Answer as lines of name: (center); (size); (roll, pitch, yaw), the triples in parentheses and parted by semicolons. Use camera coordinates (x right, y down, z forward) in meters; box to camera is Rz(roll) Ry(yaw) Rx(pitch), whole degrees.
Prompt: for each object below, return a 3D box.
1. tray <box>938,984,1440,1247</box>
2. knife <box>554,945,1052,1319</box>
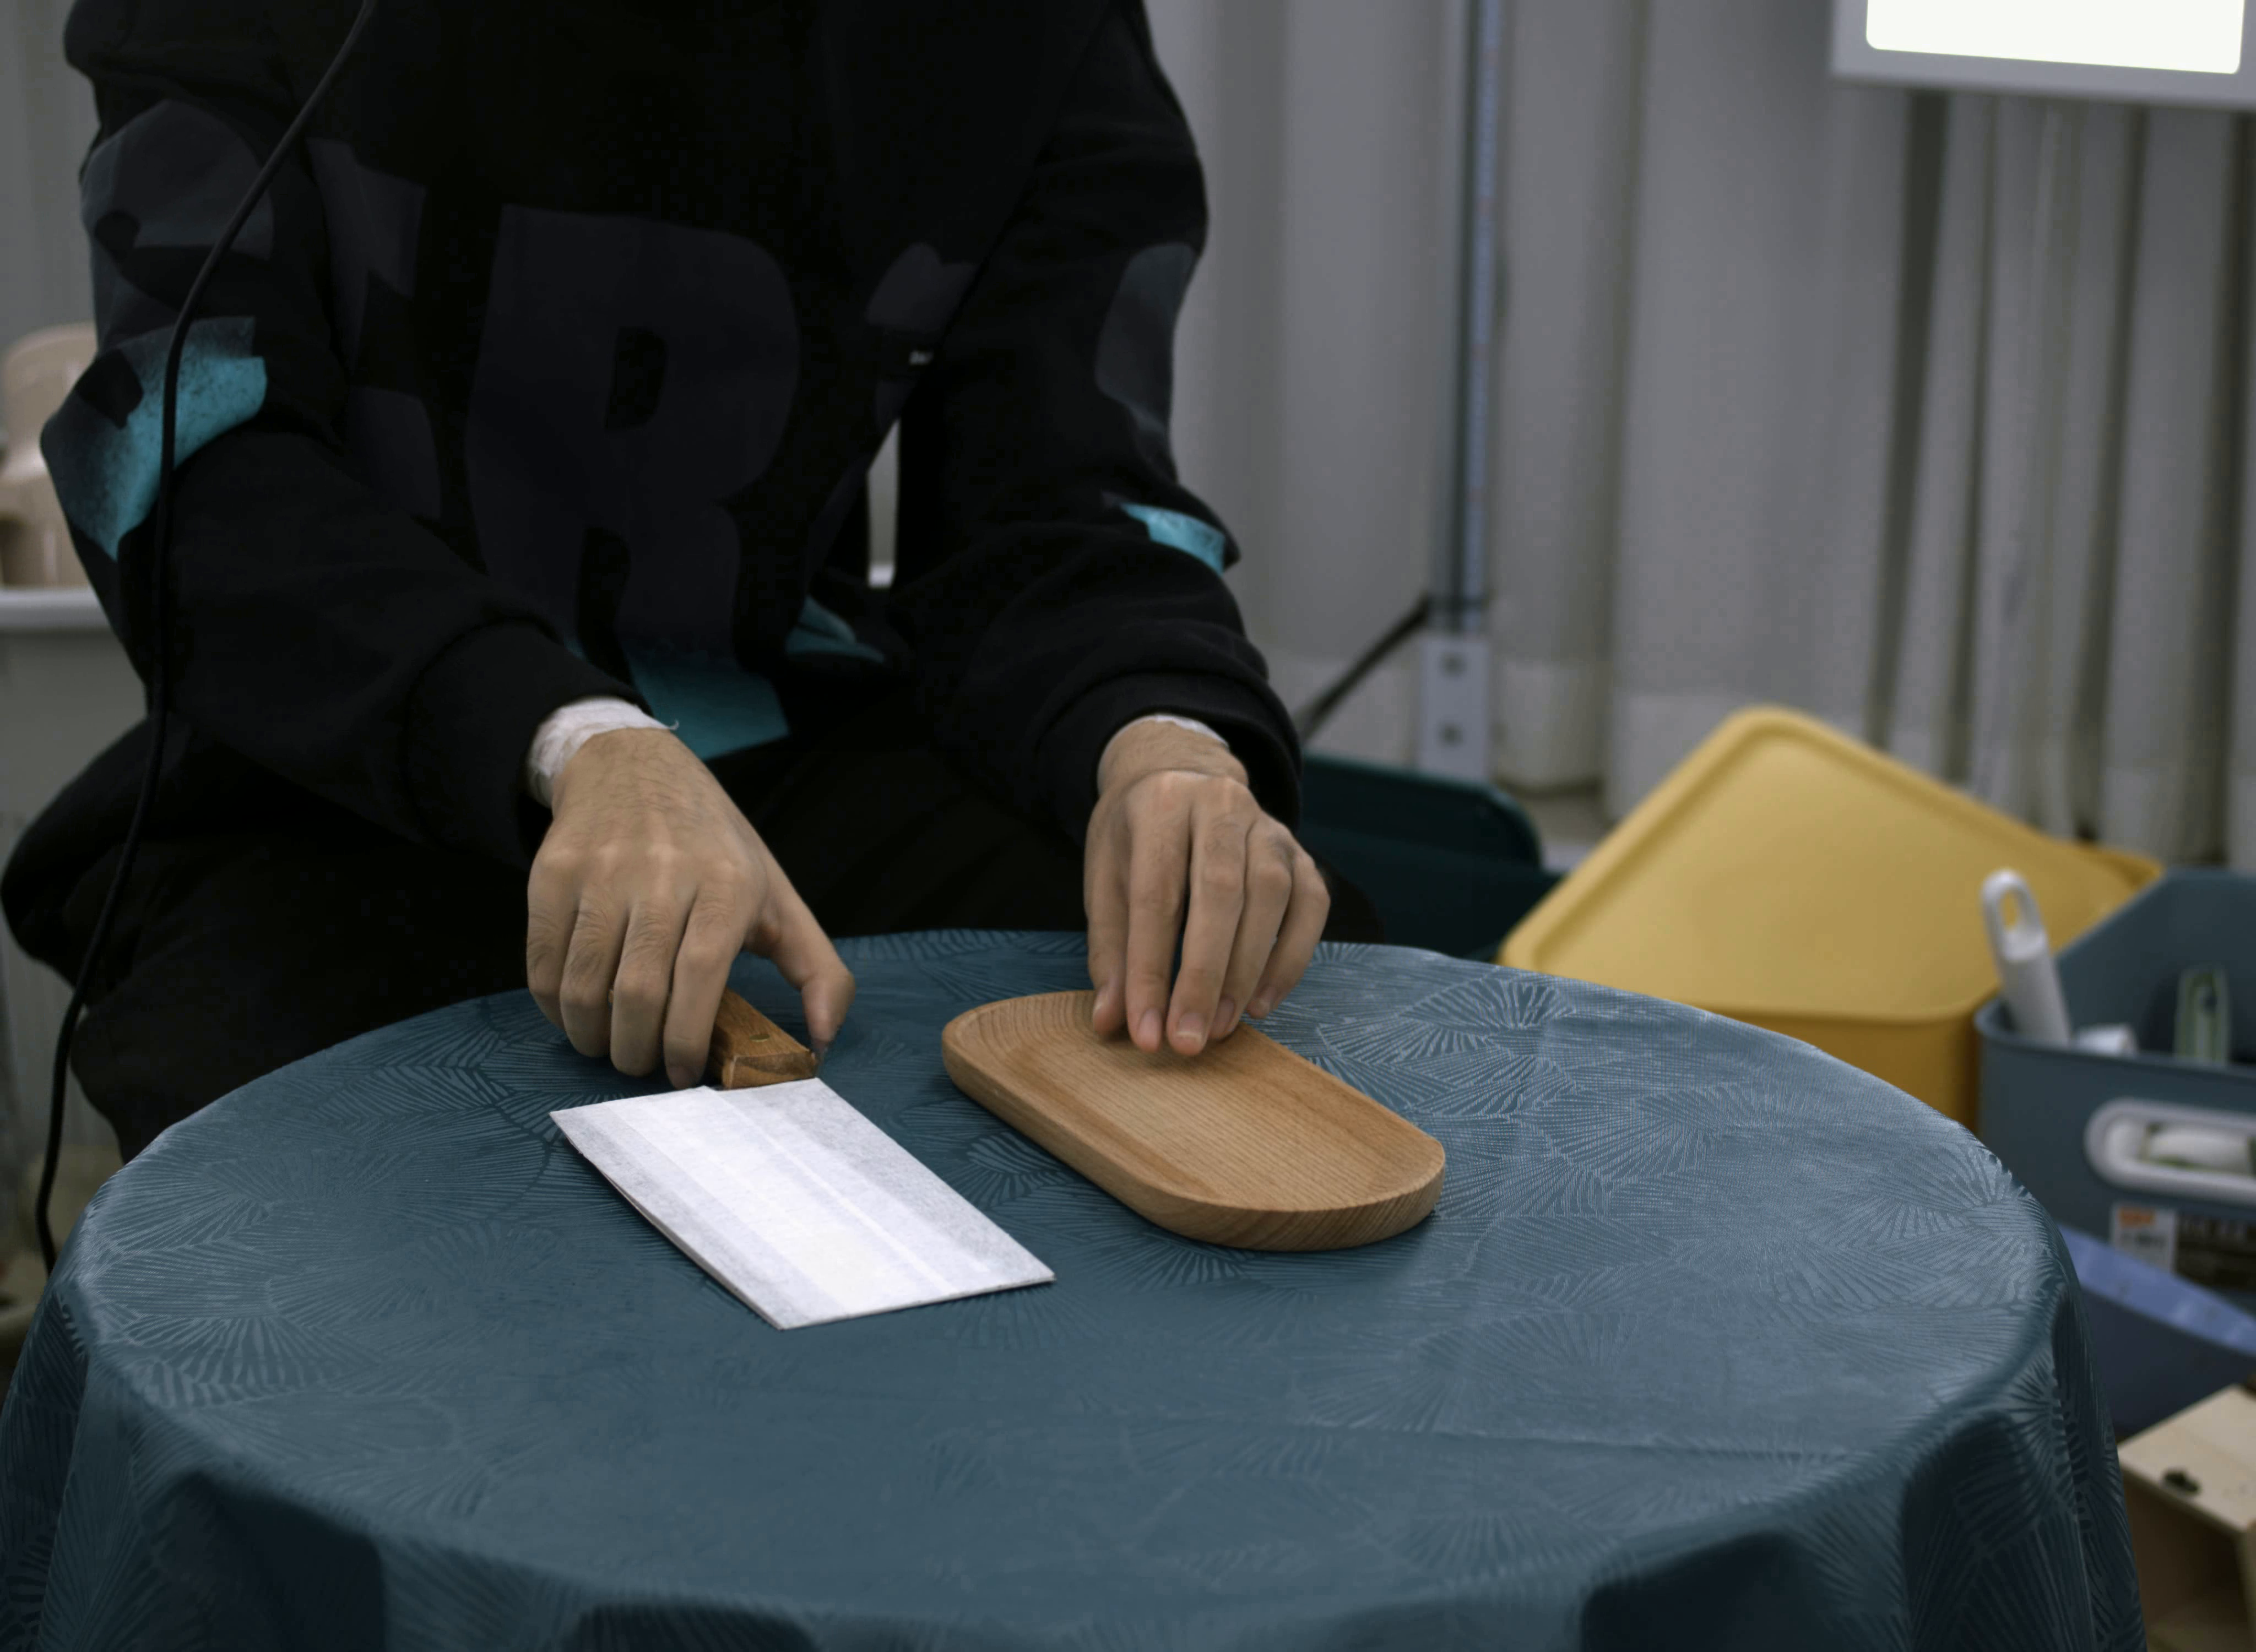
tray: (0.017, 0.090, 1.671); (0.102, 0.020, 0.228); (-6, 16, -25)
knife: (-0.125, 0.095, 1.652); (0.093, 0.021, 0.302); (-9, 20, -25)
